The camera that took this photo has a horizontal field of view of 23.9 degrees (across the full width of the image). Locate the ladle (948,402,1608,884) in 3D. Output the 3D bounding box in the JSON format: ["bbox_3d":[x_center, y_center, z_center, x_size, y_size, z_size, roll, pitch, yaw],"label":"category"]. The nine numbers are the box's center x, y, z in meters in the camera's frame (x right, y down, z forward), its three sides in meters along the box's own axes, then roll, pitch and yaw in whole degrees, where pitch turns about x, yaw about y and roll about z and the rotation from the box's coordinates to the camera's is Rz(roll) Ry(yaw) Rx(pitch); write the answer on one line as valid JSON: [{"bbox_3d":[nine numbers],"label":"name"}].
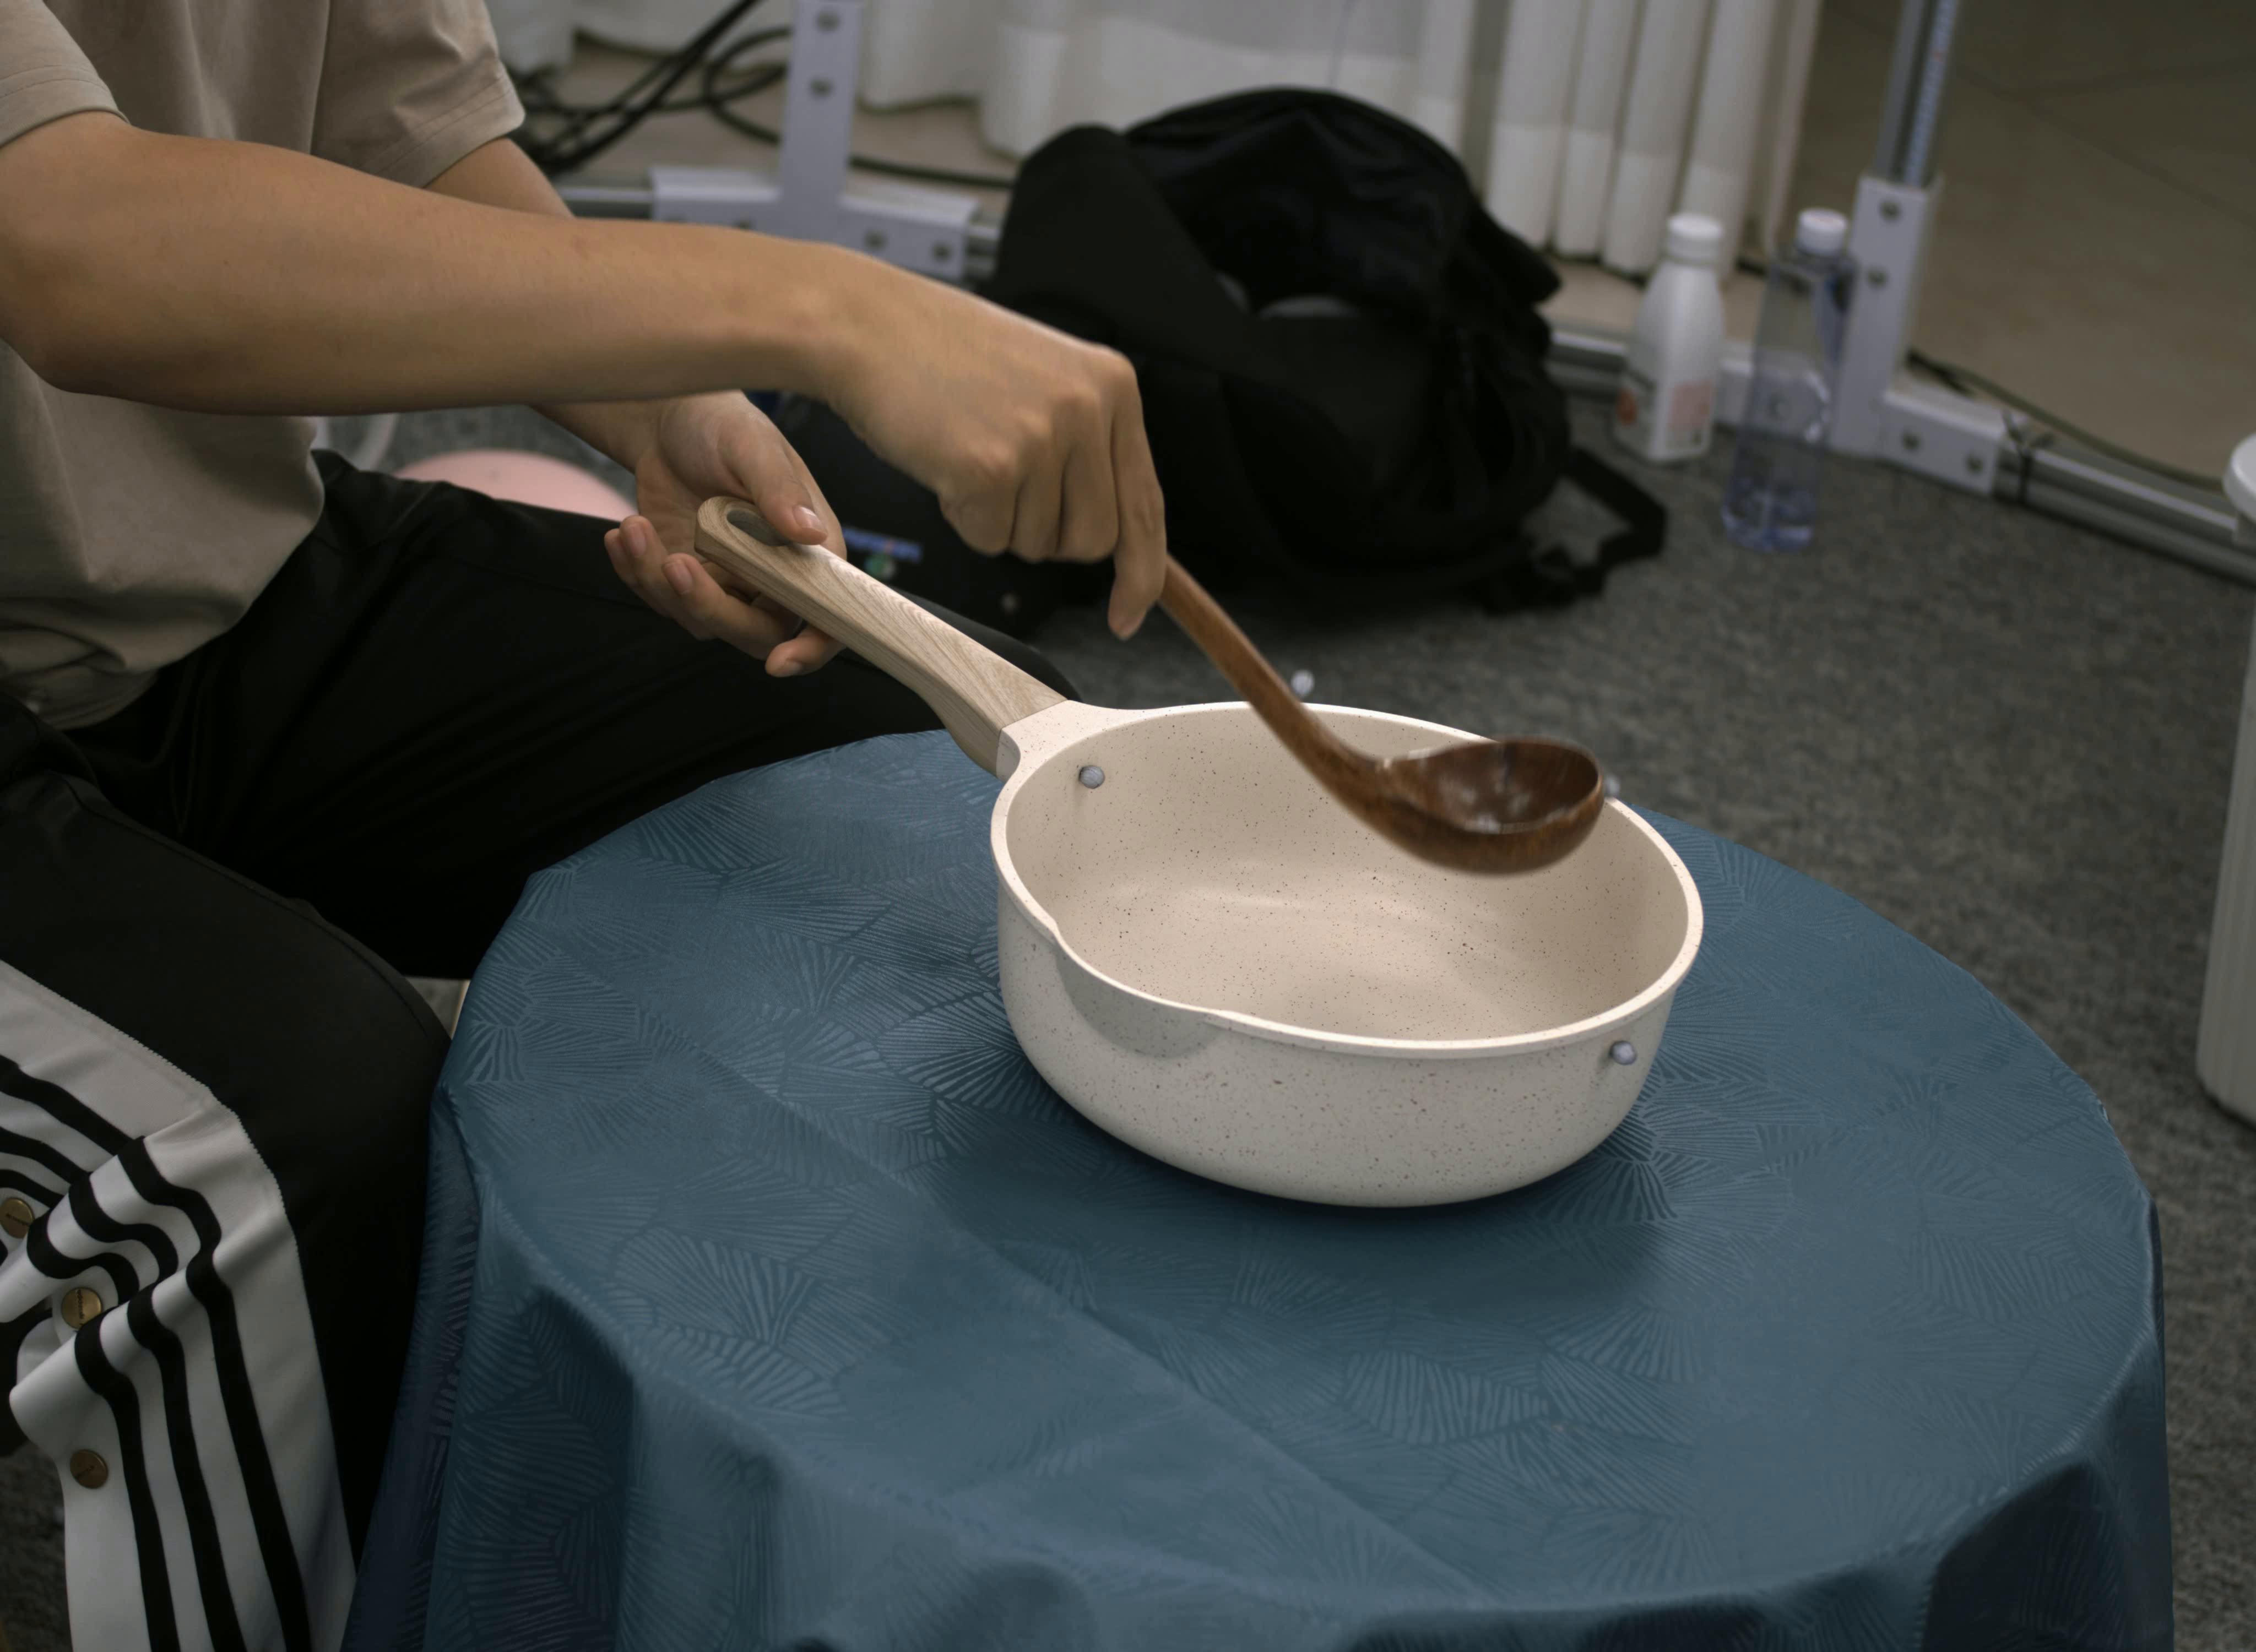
[{"bbox_3d":[0.058,-0.073,1.821,0.272,0.076,0.082,44,1,-23],"label":"ladle"}]

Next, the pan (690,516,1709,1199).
[{"bbox_3d":[0.005,0.006,1.927,0.438,0.101,0.262,25,34,32],"label":"pan"}]
